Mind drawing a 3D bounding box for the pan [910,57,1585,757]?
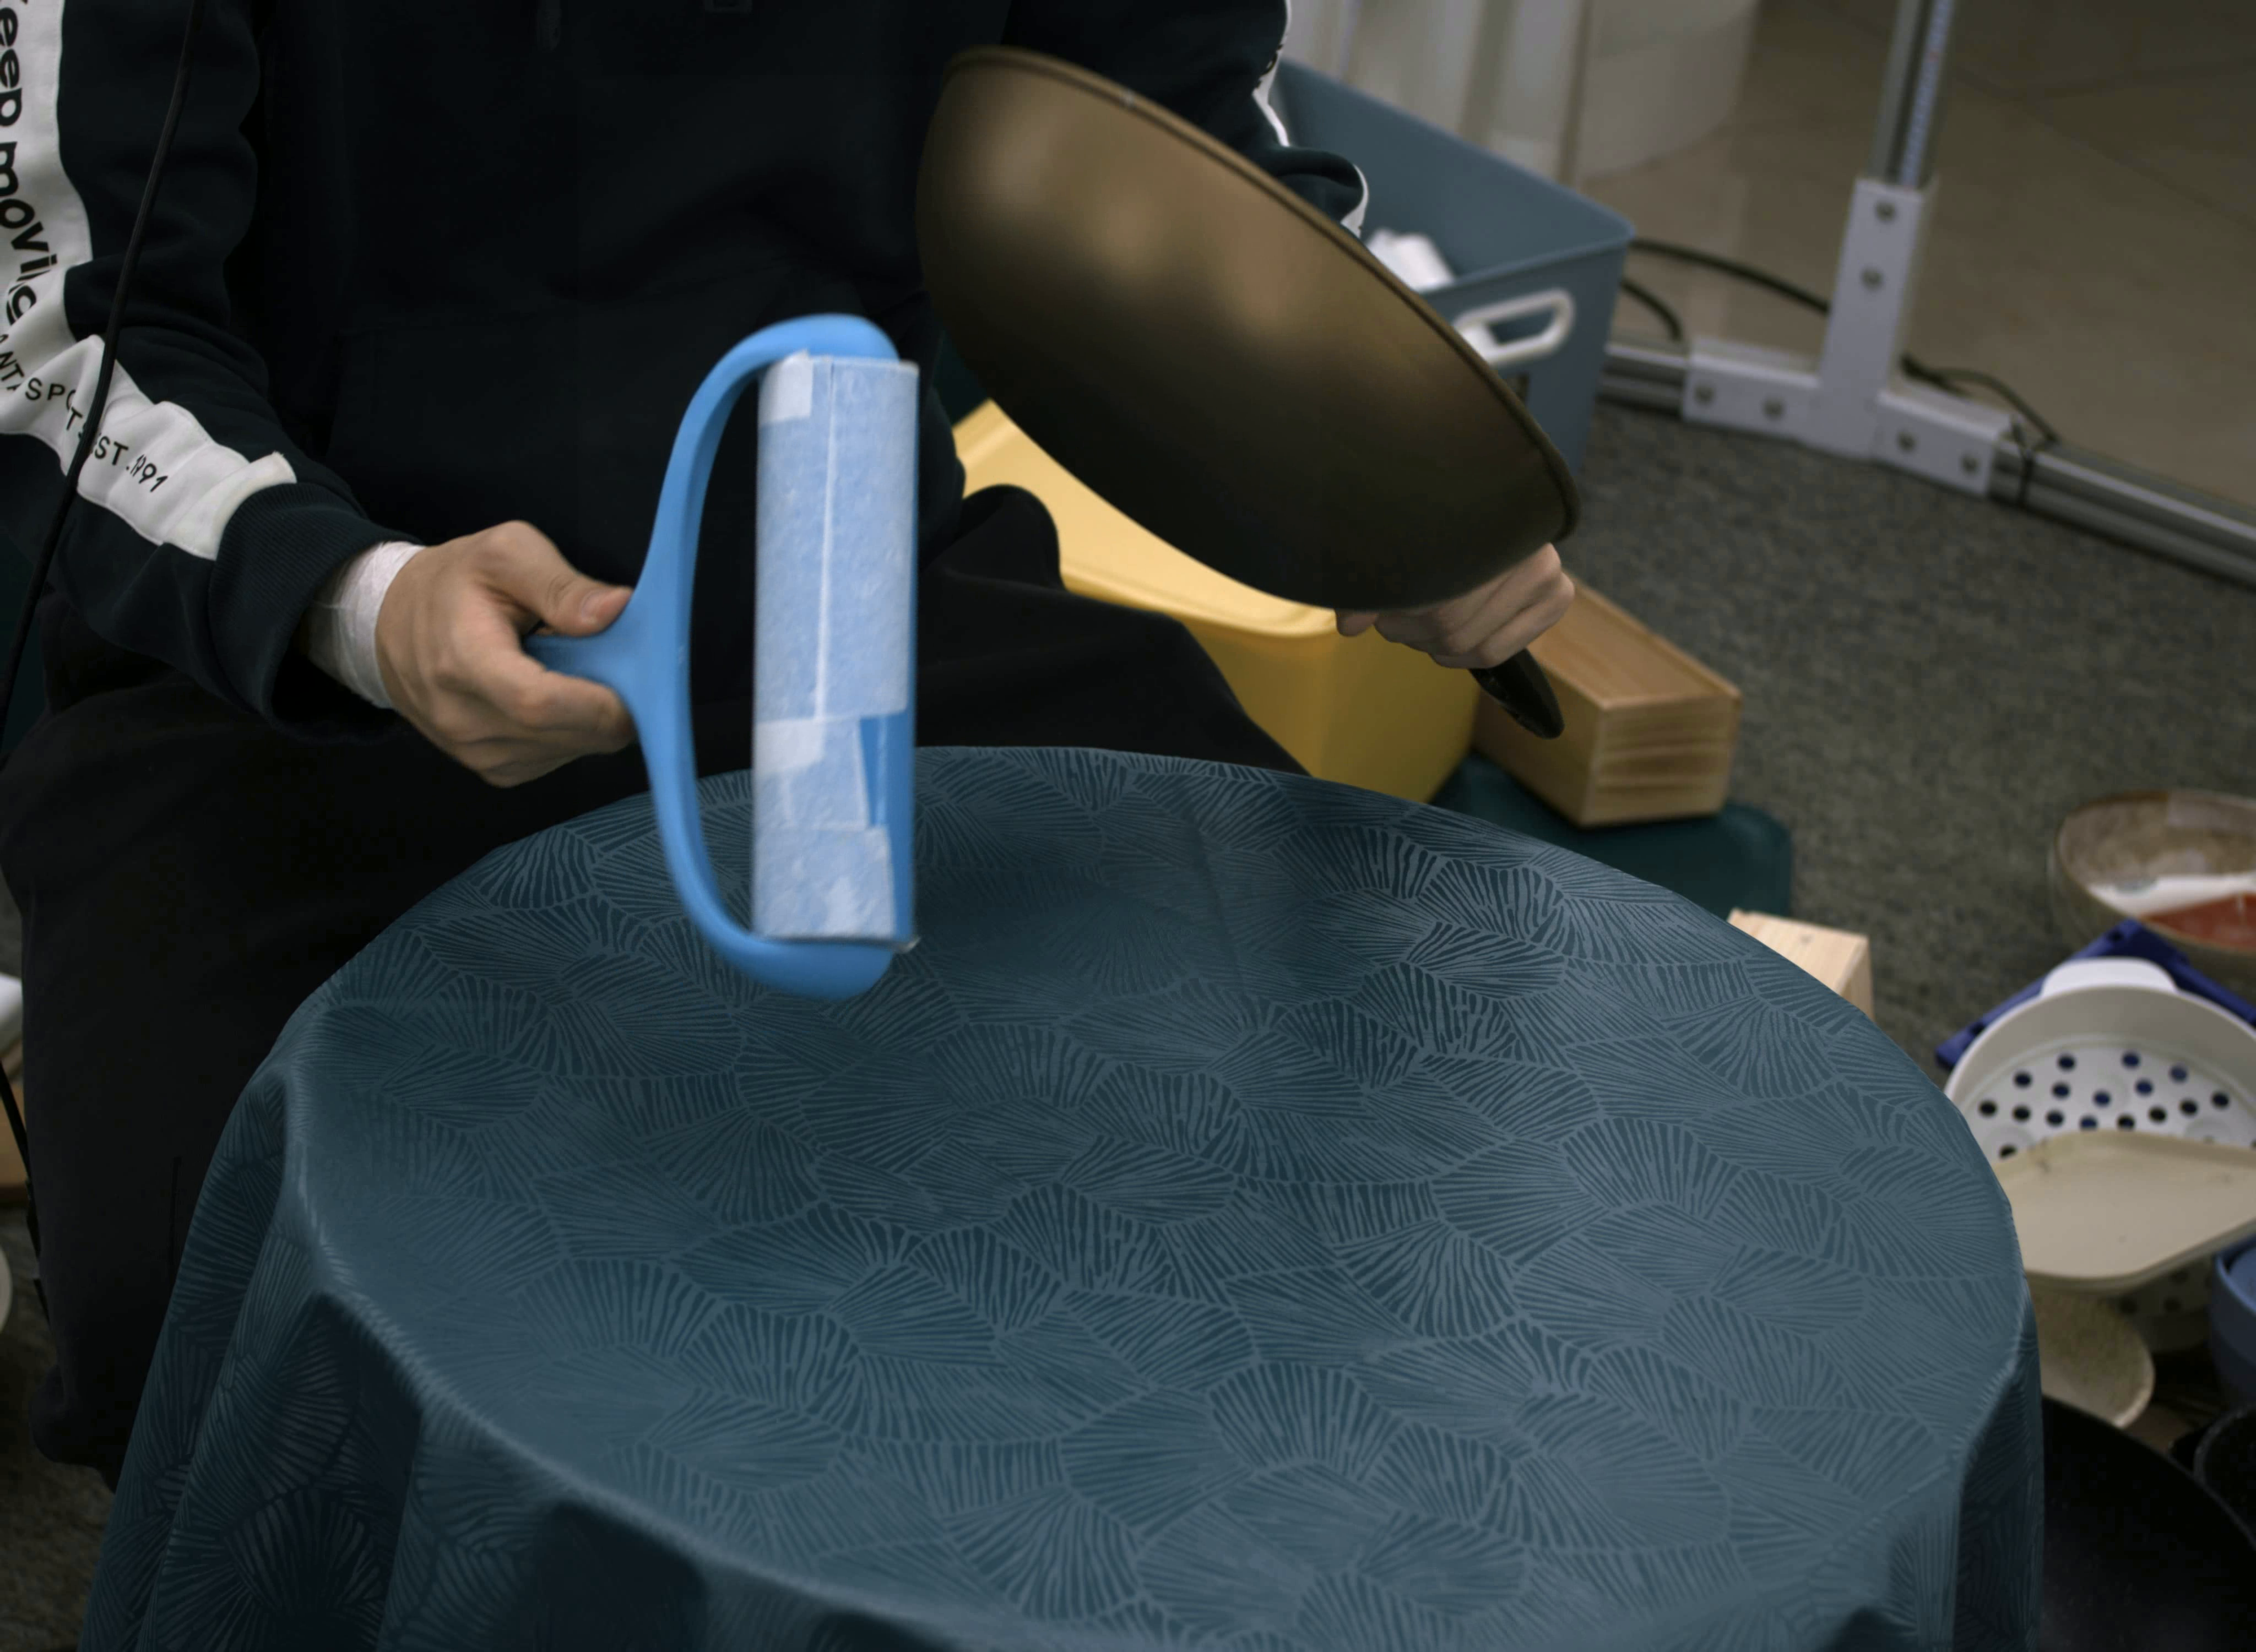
[{"bbox_3d":[0.060,-0.115,1.983,0.290,0.459,0.087,29,79,35],"label":"pan"}]

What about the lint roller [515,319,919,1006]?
[{"bbox_3d":[-0.149,-0.049,1.794,0.181,0.230,0.067,-7,-8,29],"label":"lint roller"}]
